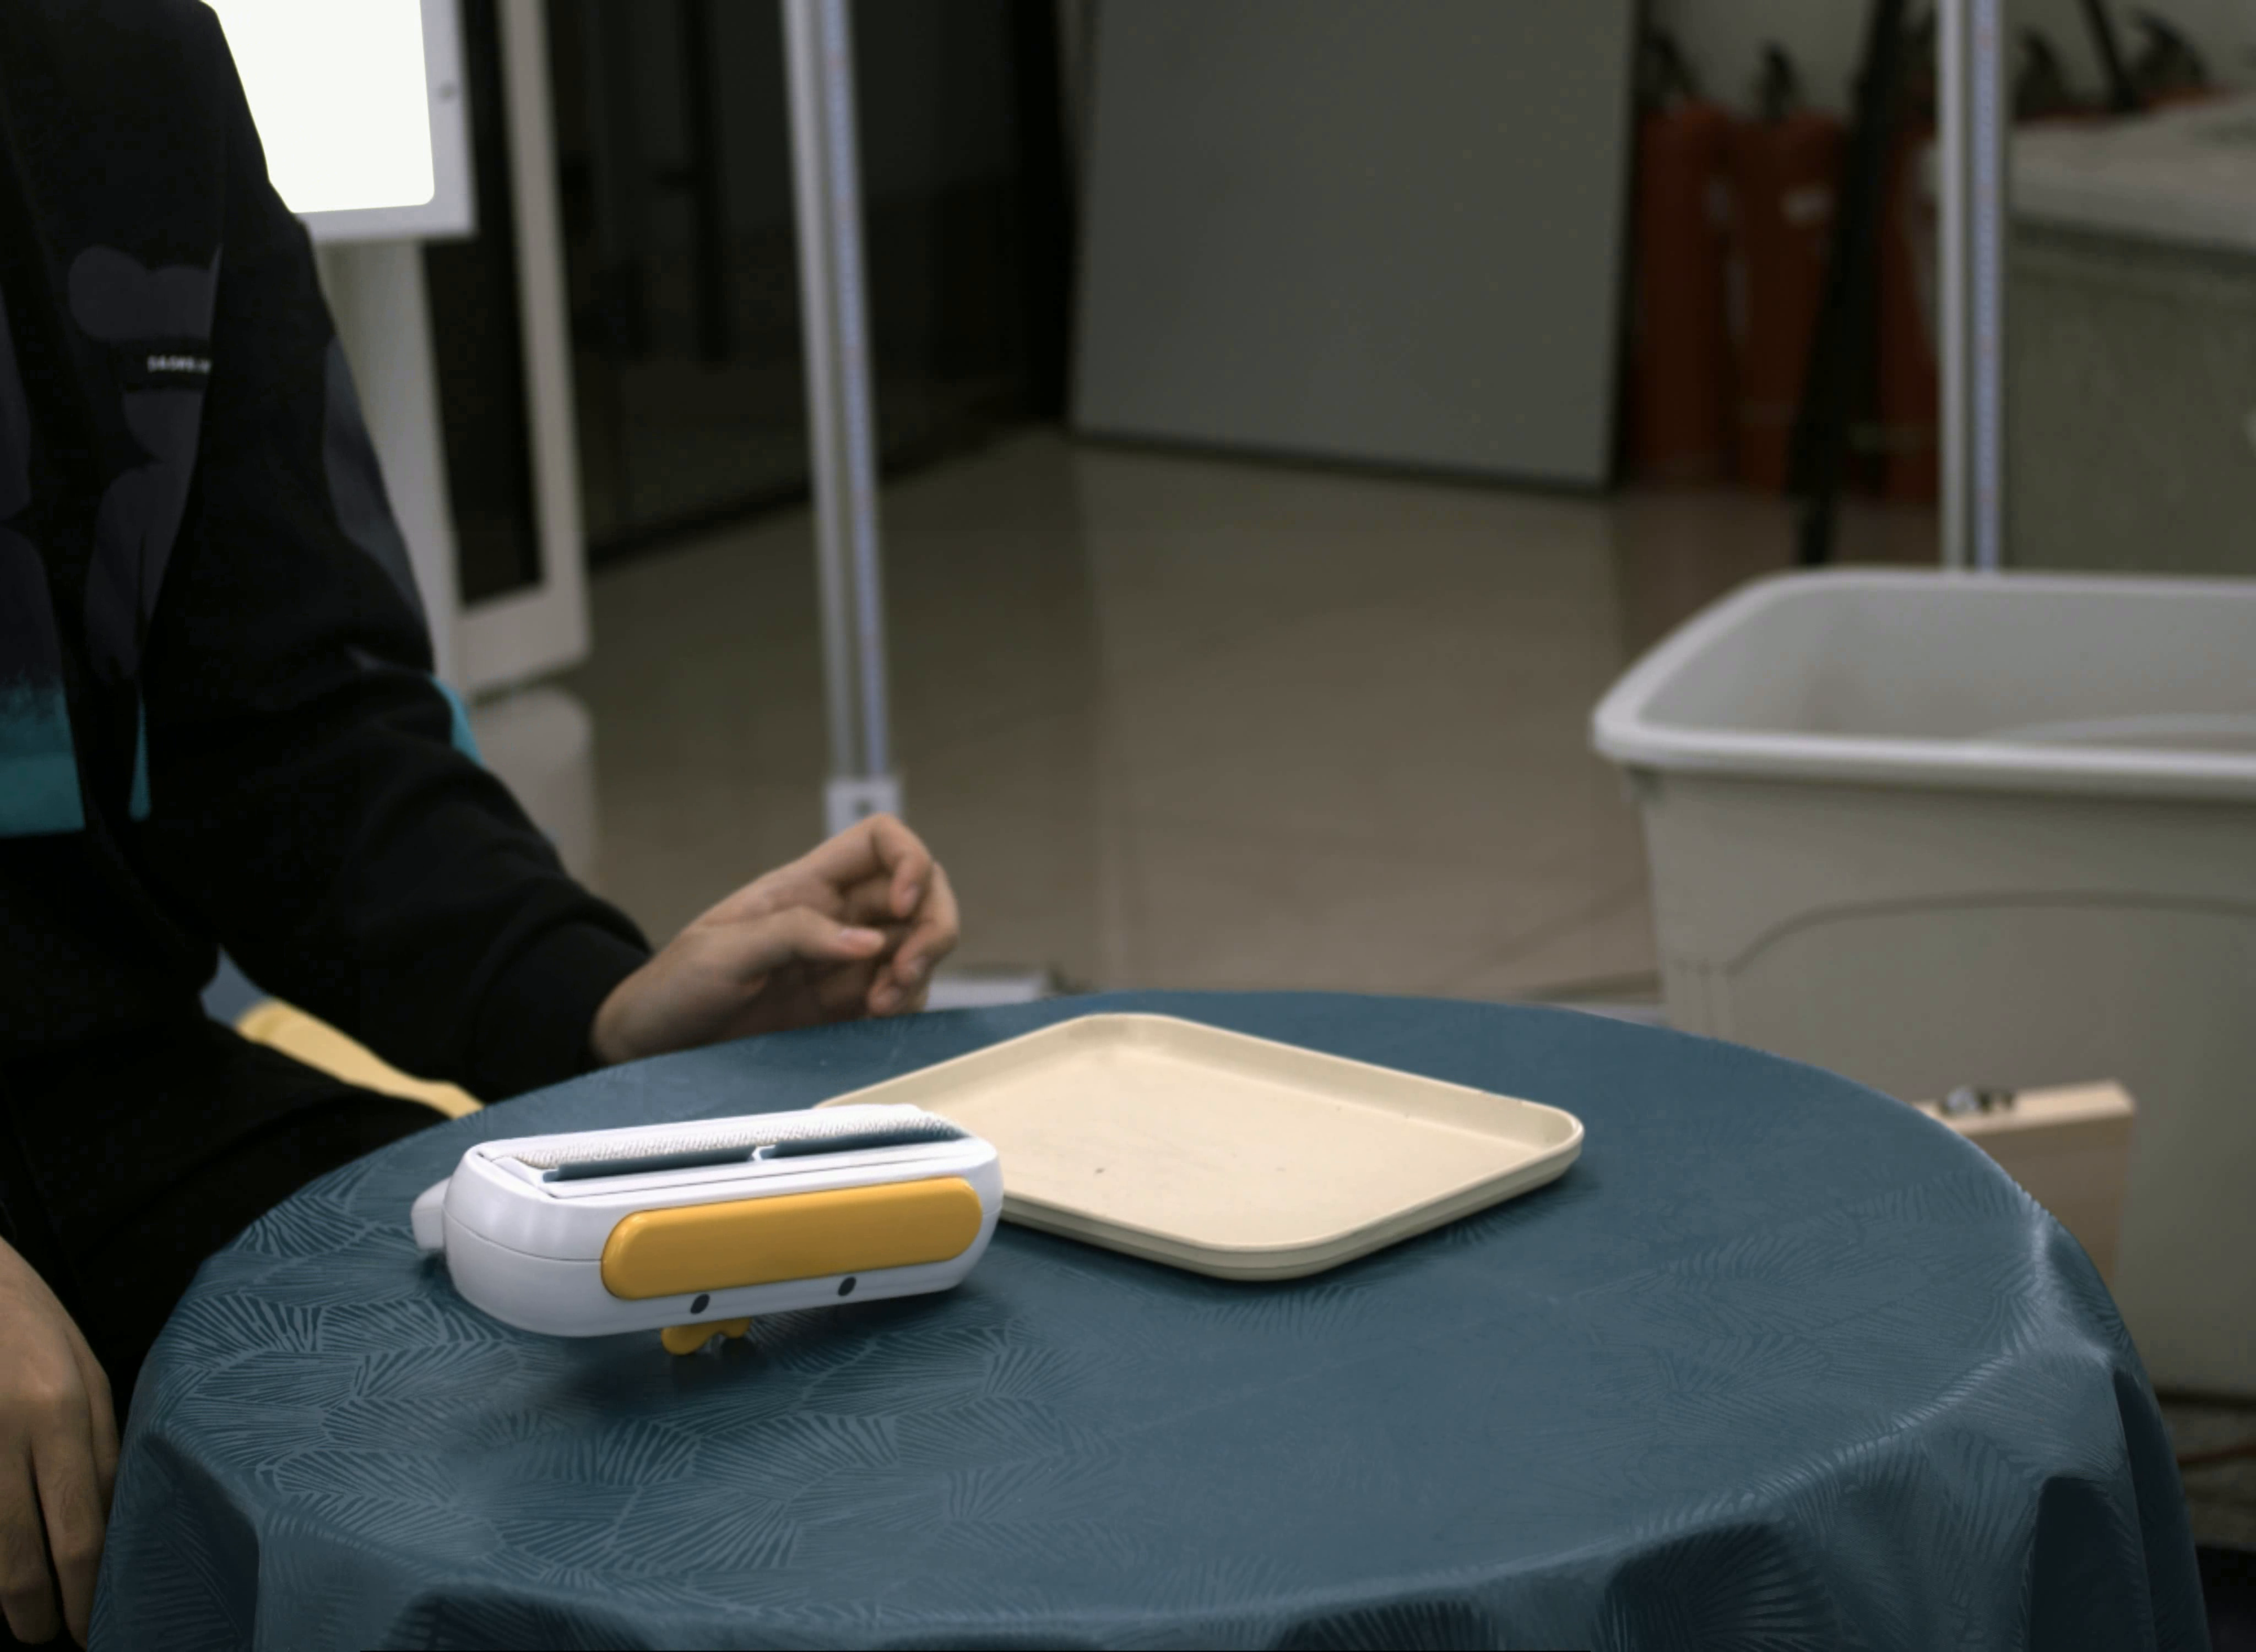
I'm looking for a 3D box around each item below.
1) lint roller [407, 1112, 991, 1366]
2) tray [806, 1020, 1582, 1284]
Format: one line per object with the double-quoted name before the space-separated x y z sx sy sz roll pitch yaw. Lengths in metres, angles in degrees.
"lint roller" -0.162 0.120 1.685 0.188 0.075 0.194 -8 11 -37
"tray" 0.020 0.107 1.787 0.168 0.017 0.242 -17 19 -40
